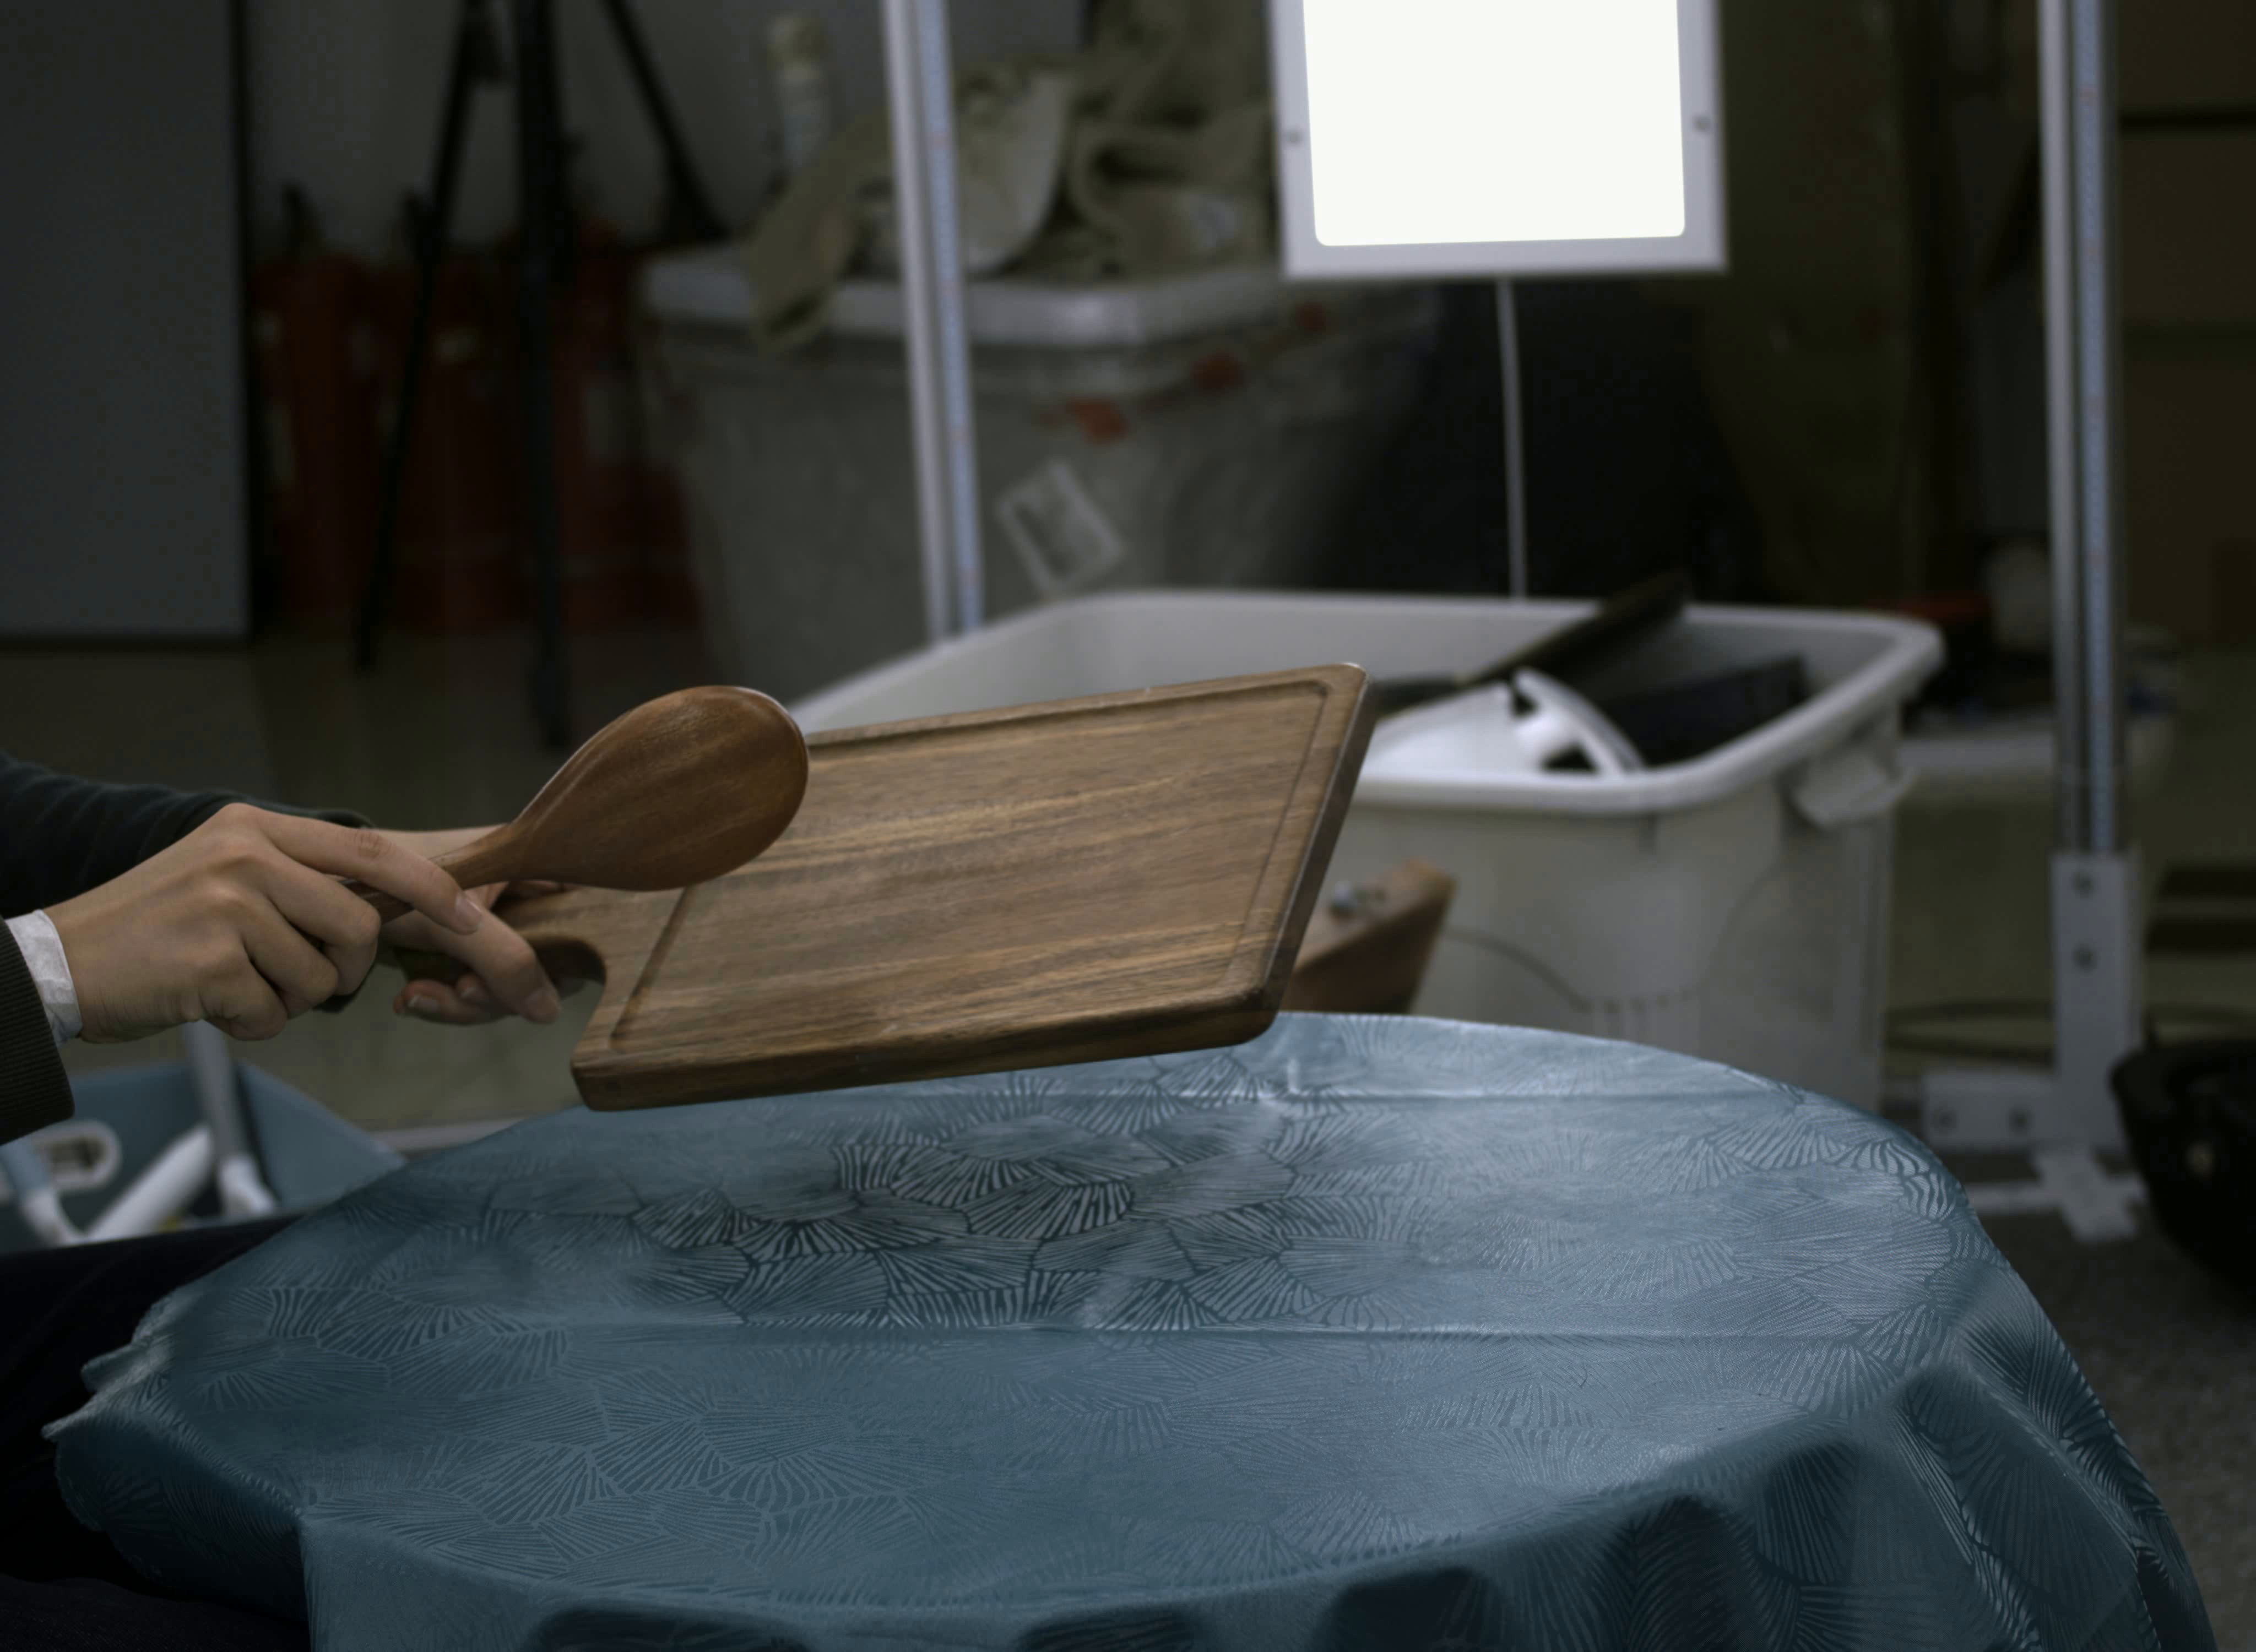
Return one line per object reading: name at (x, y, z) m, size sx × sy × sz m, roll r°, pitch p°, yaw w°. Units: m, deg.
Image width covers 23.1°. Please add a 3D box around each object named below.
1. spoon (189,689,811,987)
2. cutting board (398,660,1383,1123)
spoon at (-0.204, 0.010, 1.819) m, size 0.213 × 0.075 × 0.017 m, roll -19°, pitch 41°, yaw -9°
cutting board at (-0.093, 0.027, 1.900) m, size 0.357 × 0.023 × 0.198 m, roll -8°, pitch 35°, yaw 23°
